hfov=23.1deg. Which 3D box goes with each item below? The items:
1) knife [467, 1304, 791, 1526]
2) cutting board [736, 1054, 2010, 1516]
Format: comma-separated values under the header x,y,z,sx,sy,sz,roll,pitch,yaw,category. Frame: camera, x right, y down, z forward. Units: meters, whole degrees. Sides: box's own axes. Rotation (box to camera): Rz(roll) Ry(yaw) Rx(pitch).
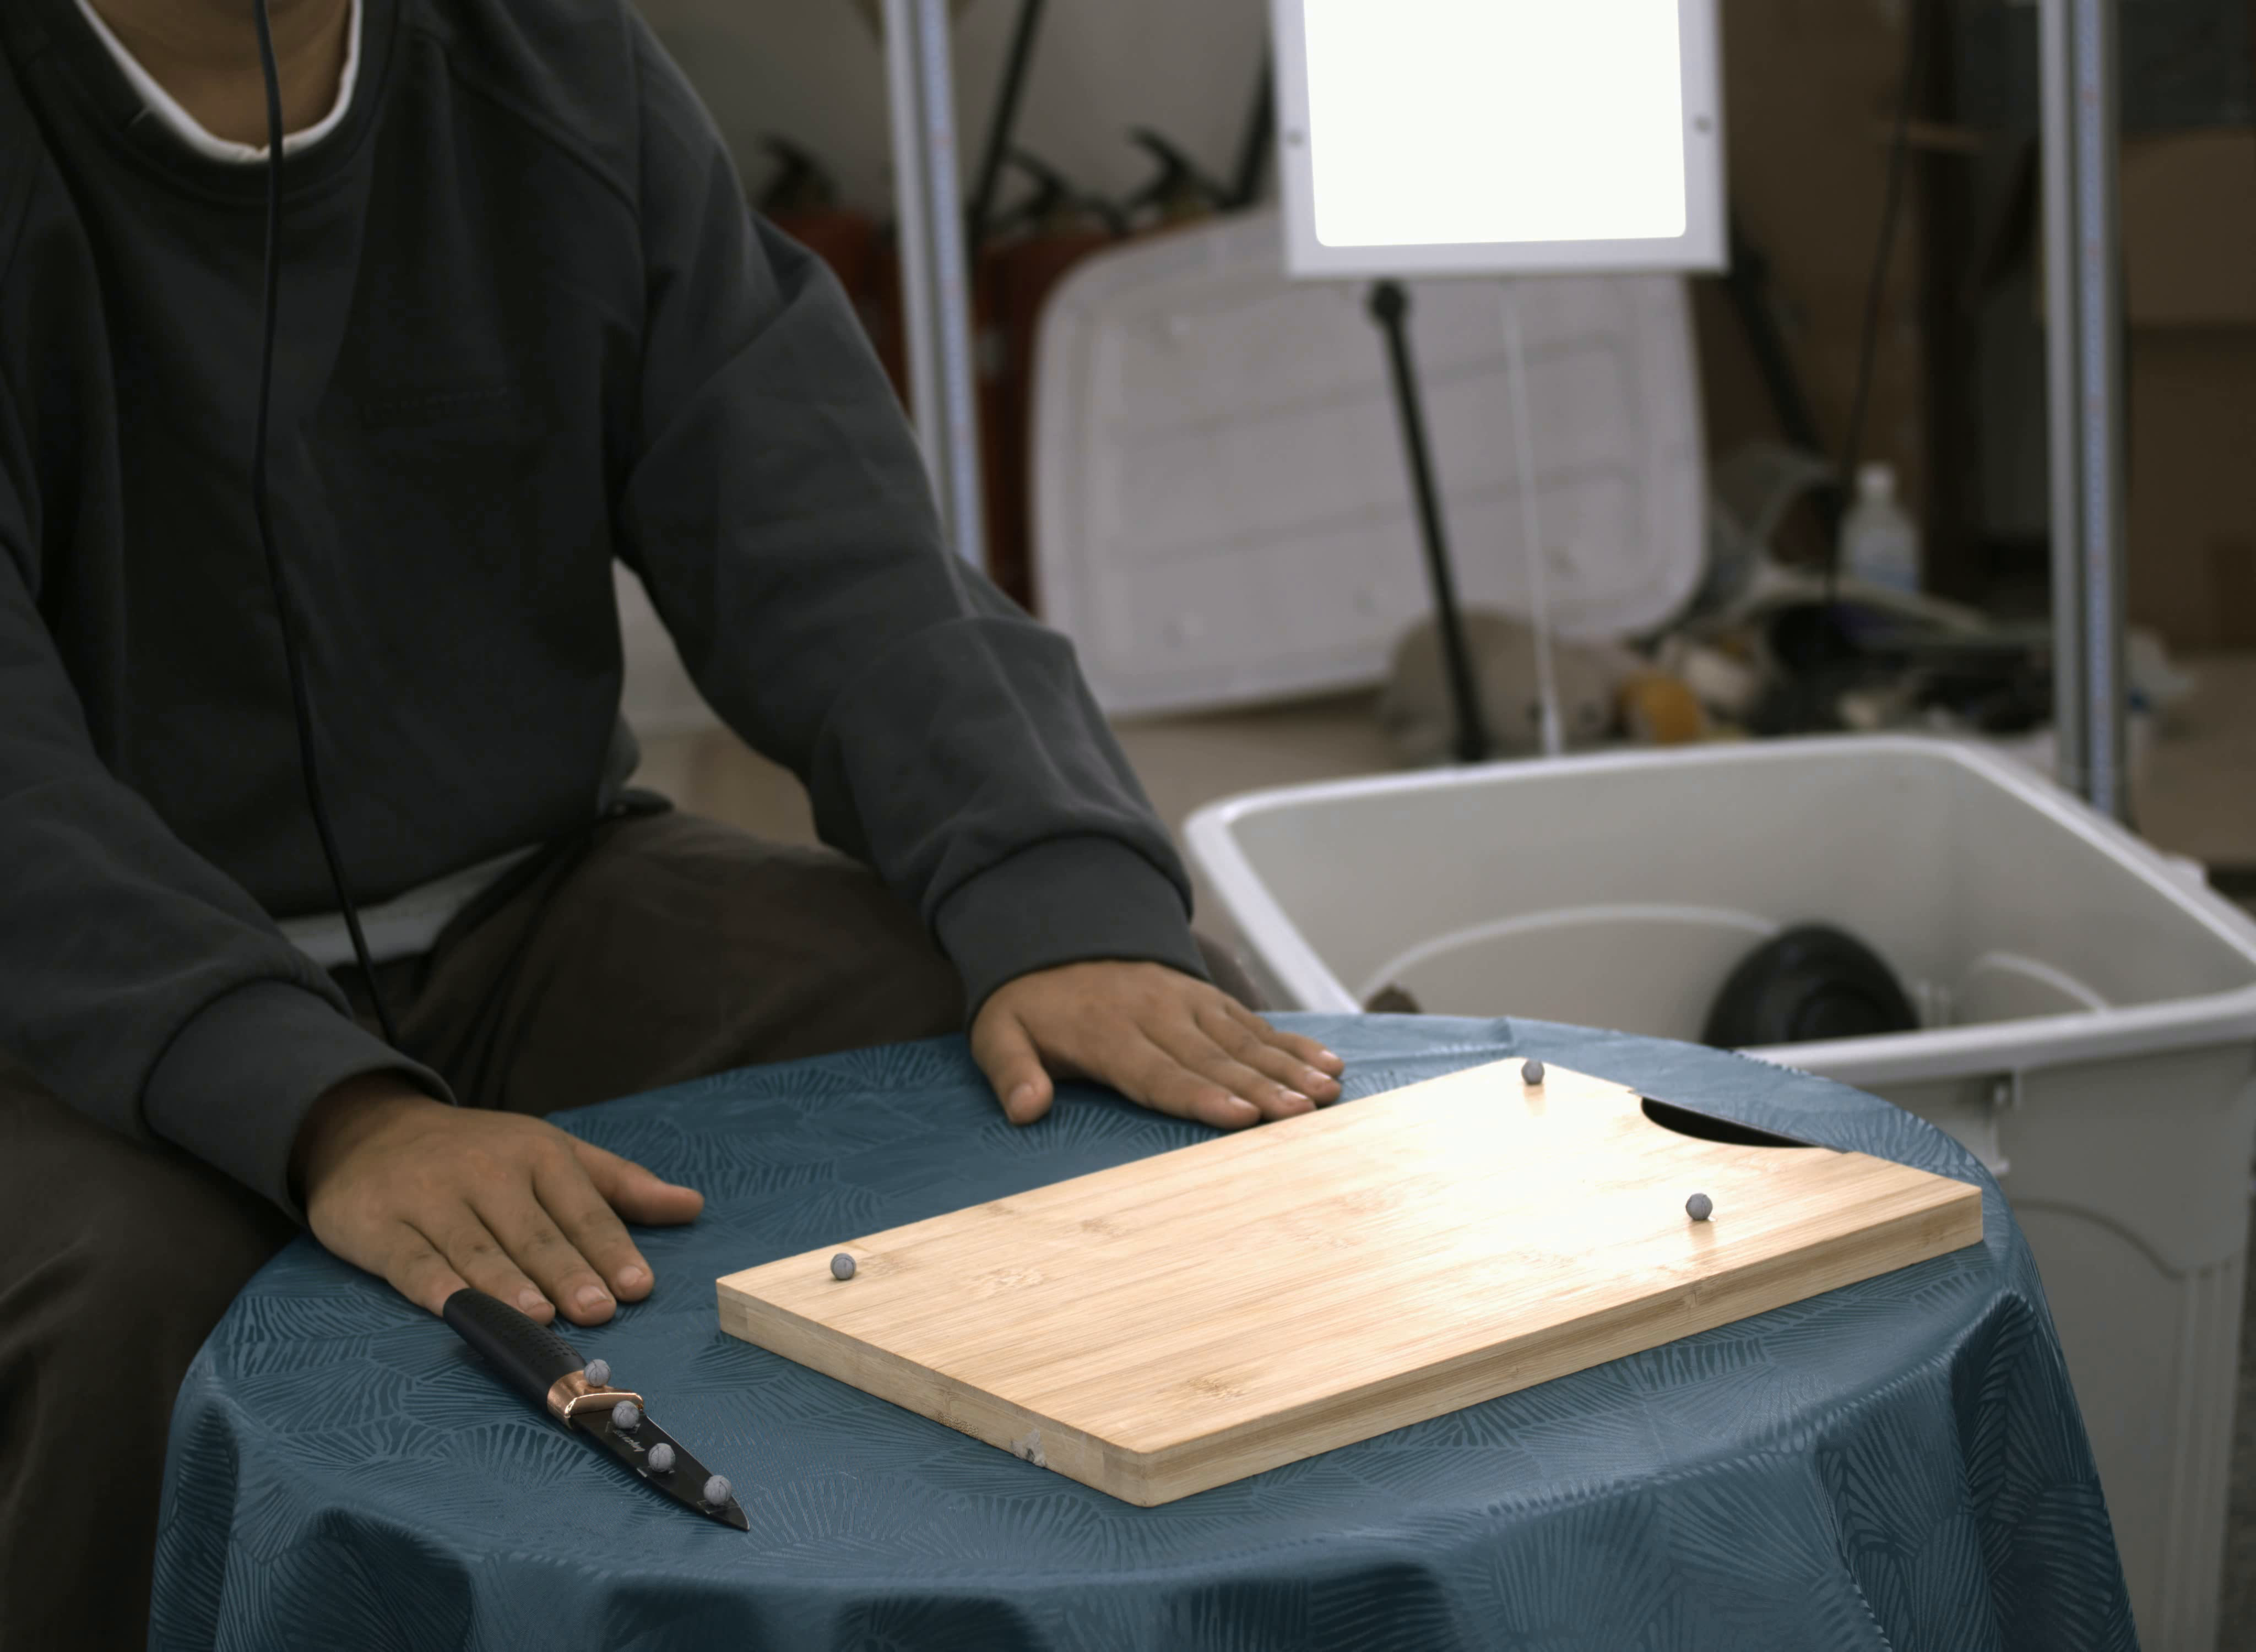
x,y,z,sx,sy,sz,roll,pitch,yaw,category
-0.157,0.182,1.704,0.025,0.017,0.229,-5,13,-27,knife
0.078,0.140,1.780,0.340,0.023,0.256,-14,16,-33,cutting board
